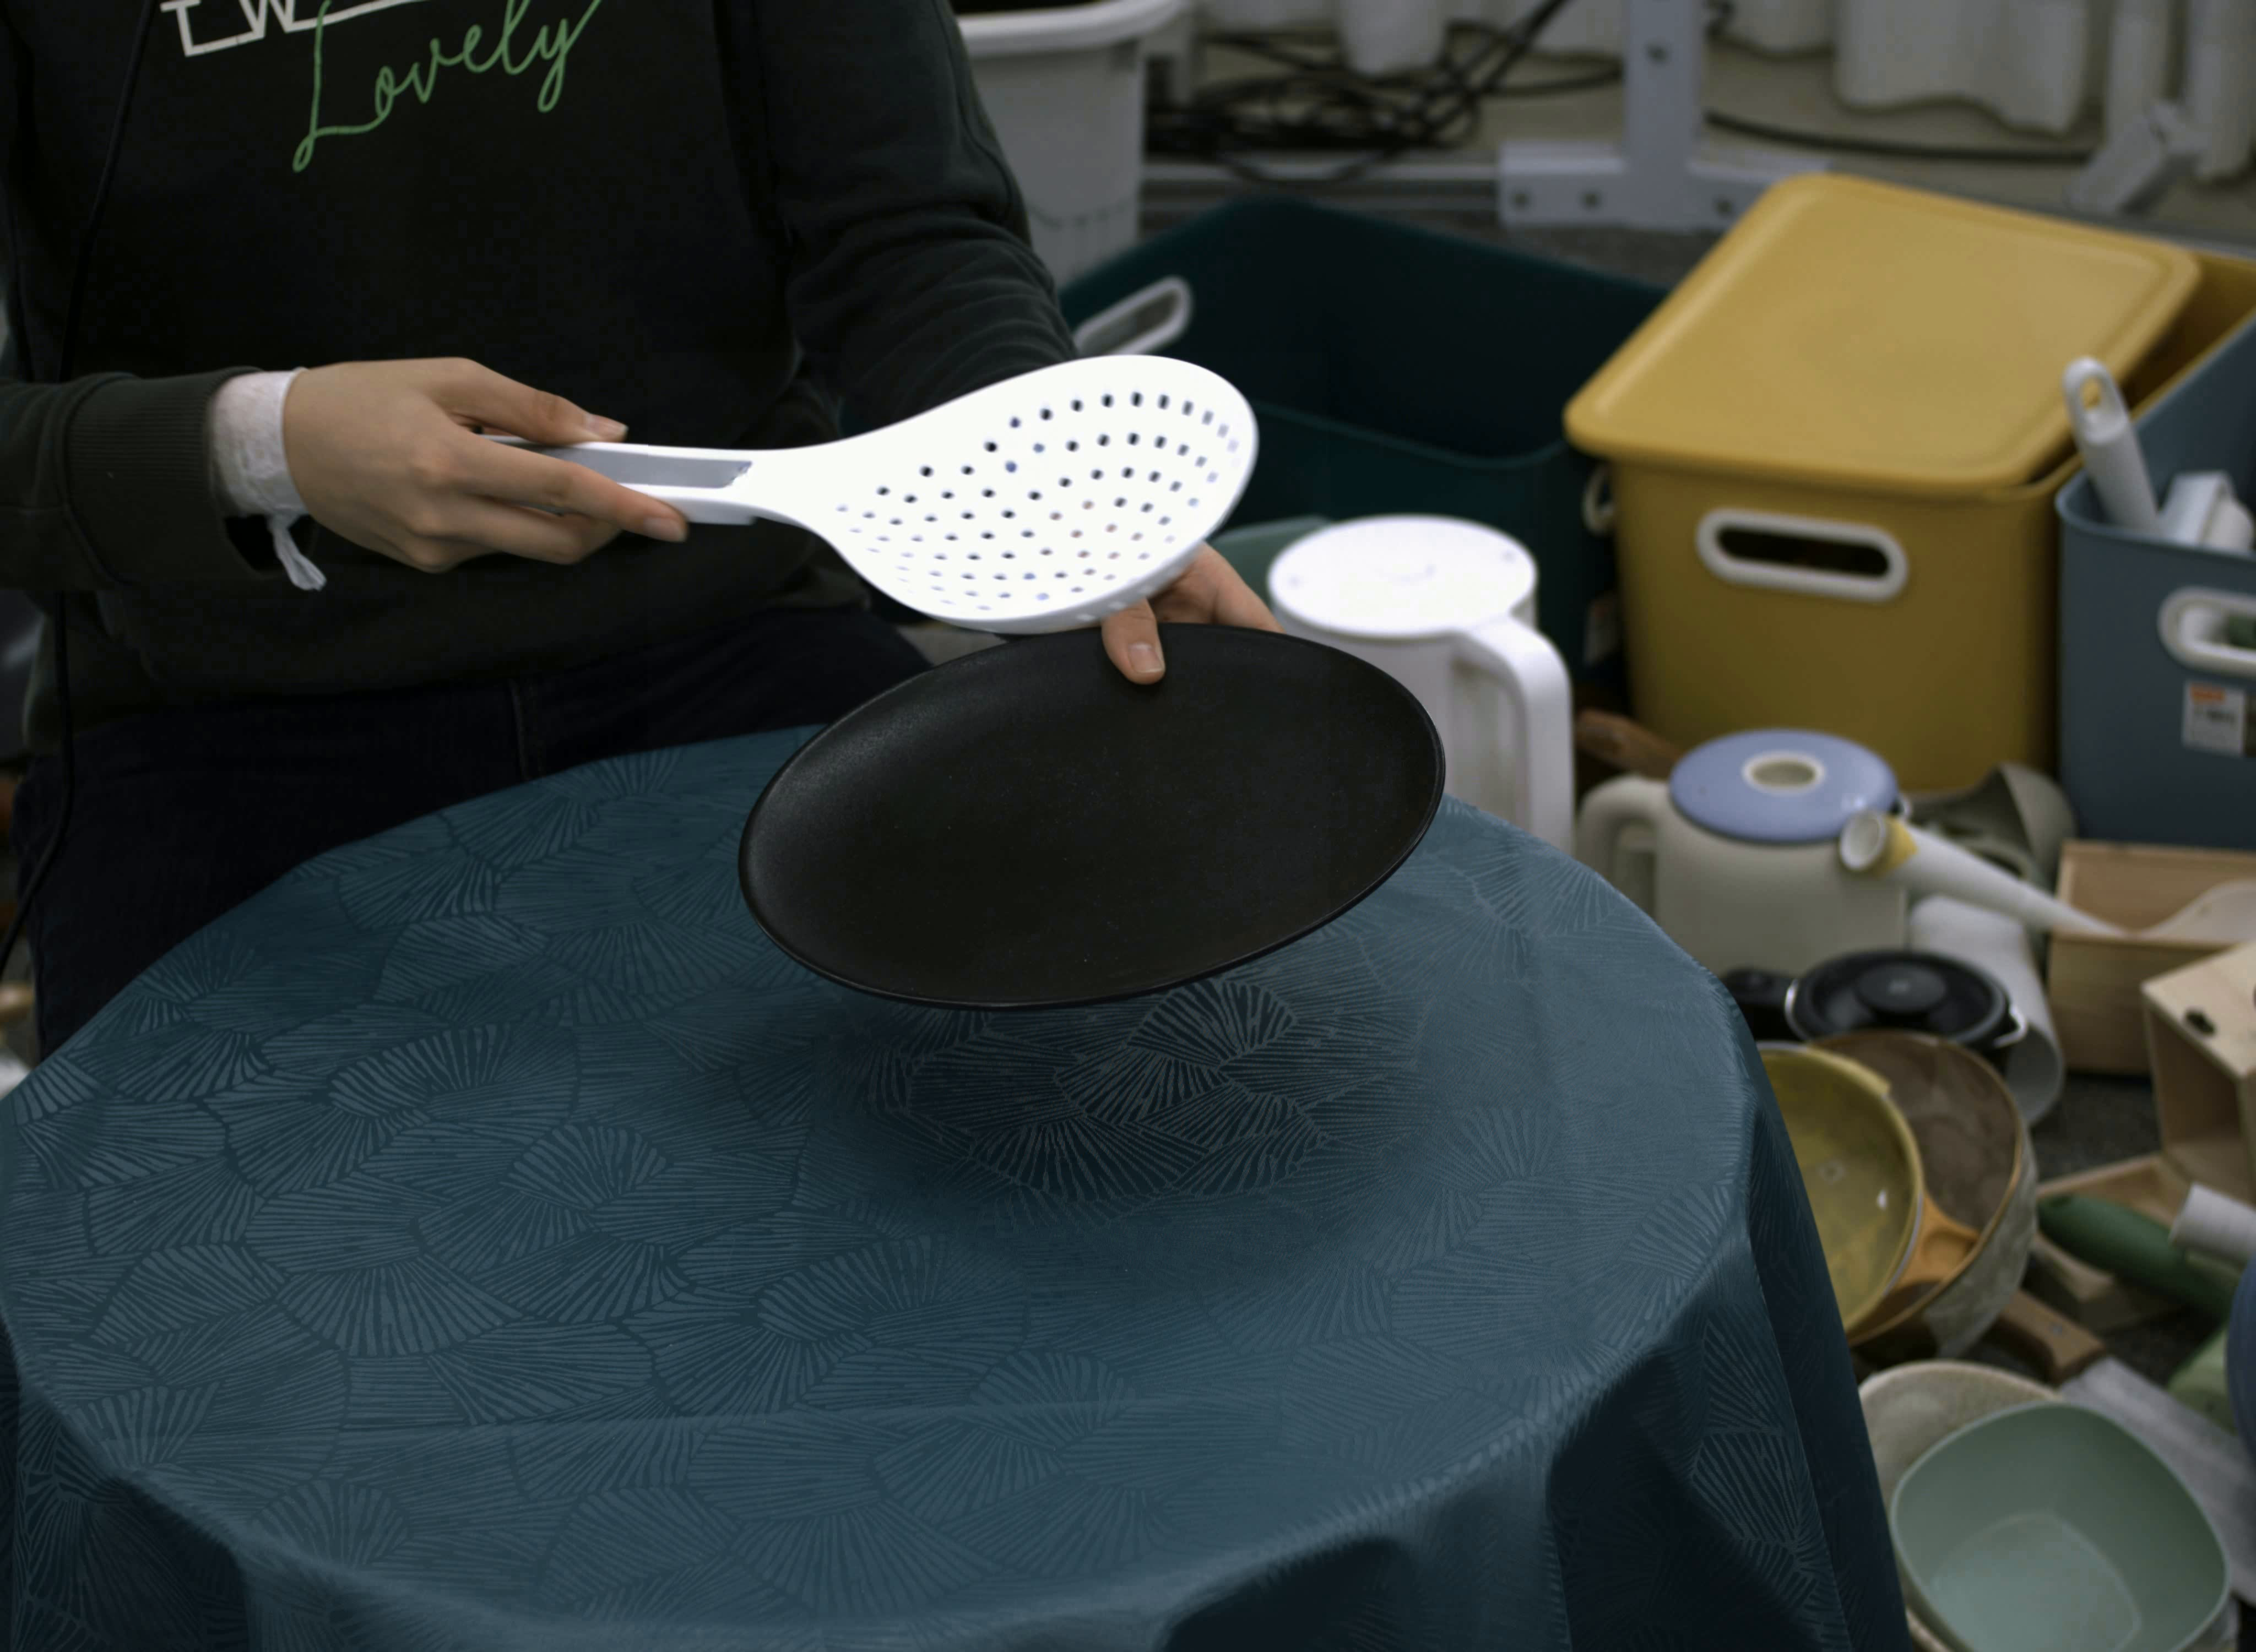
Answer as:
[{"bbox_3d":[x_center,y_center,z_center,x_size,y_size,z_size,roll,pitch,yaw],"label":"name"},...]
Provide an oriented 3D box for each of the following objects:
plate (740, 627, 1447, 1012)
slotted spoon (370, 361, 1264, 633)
[{"bbox_3d":[-0.011,0.001,1.909,0.243,0.023,0.248,-7,30,4],"label":"plate"},{"bbox_3d":[-0.112,-0.114,1.917,0.347,0.045,0.139,8,44,25],"label":"slotted spoon"}]
